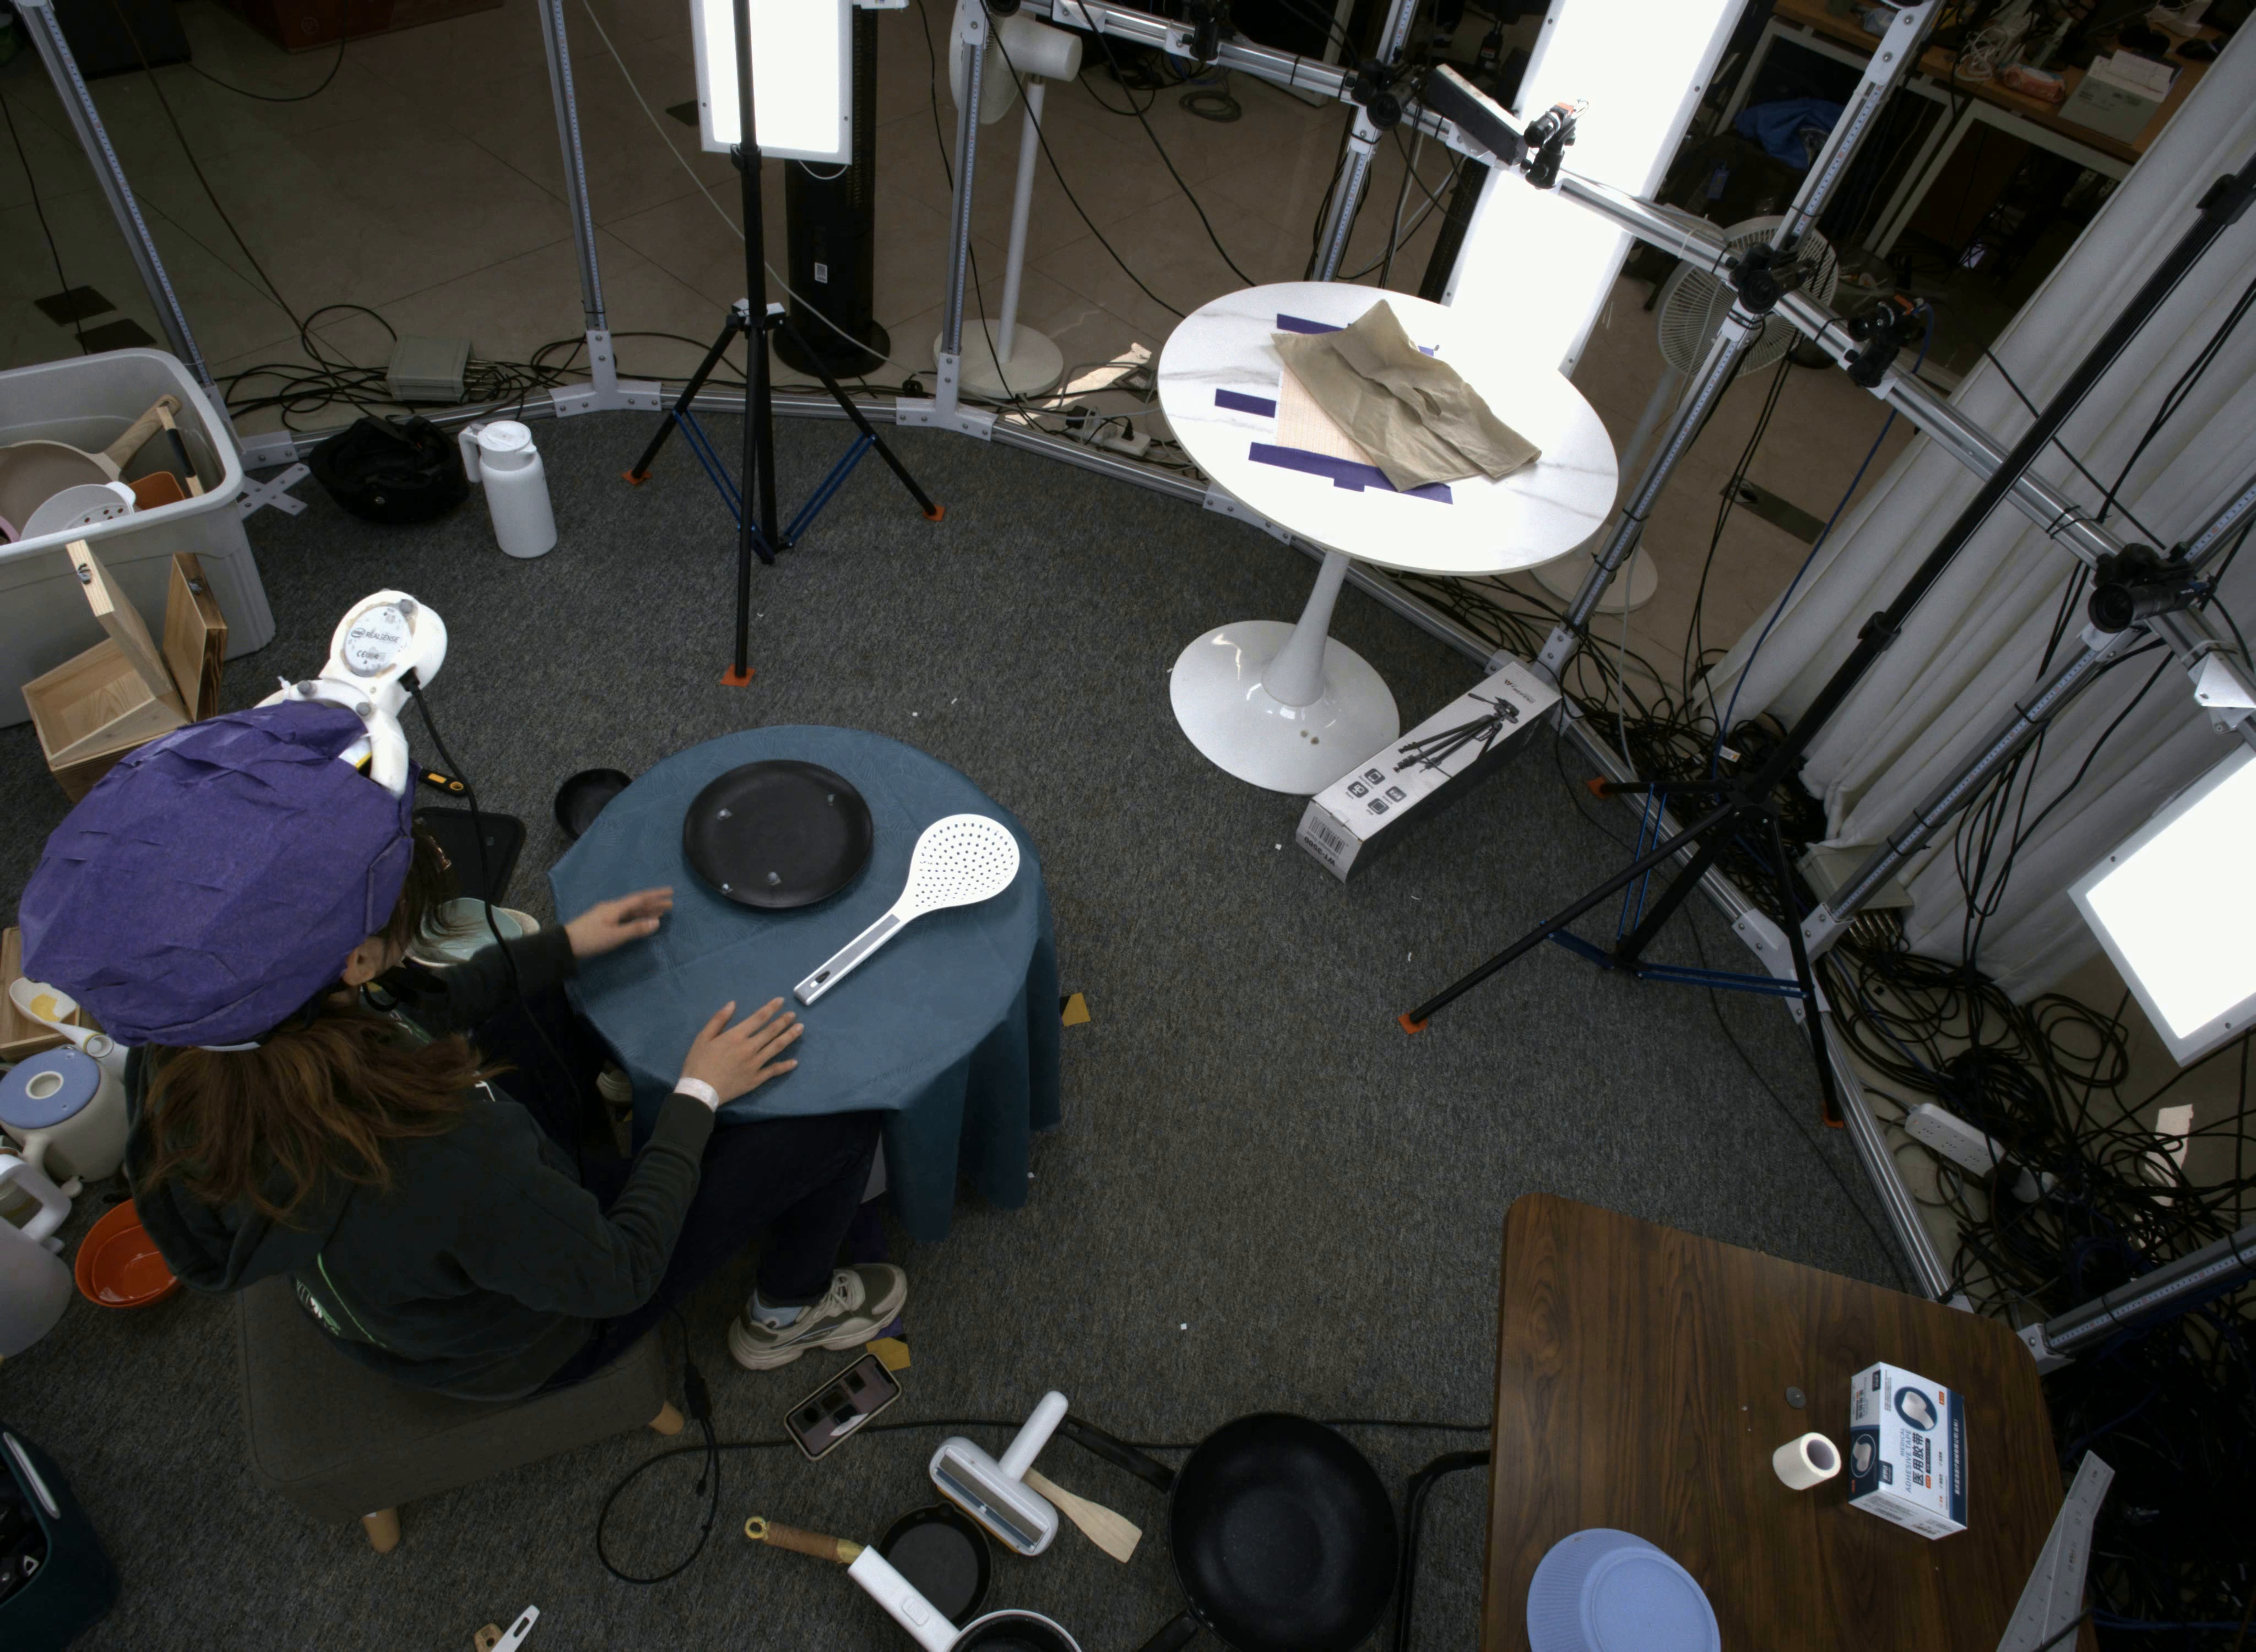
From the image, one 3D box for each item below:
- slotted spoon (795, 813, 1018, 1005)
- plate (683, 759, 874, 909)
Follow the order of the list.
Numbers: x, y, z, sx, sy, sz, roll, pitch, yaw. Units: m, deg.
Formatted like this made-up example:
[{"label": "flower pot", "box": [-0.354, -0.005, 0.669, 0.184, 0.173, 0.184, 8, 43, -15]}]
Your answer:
[{"label": "slotted spoon", "box": [-0.283, 0.106, 1.658, 0.133, 0.047, 0.350, 38, 55, 17]}, {"label": "plate", "box": [-0.457, 0.011, 1.697, 0.244, 0.024, 0.240, 8, 52, -9]}]
